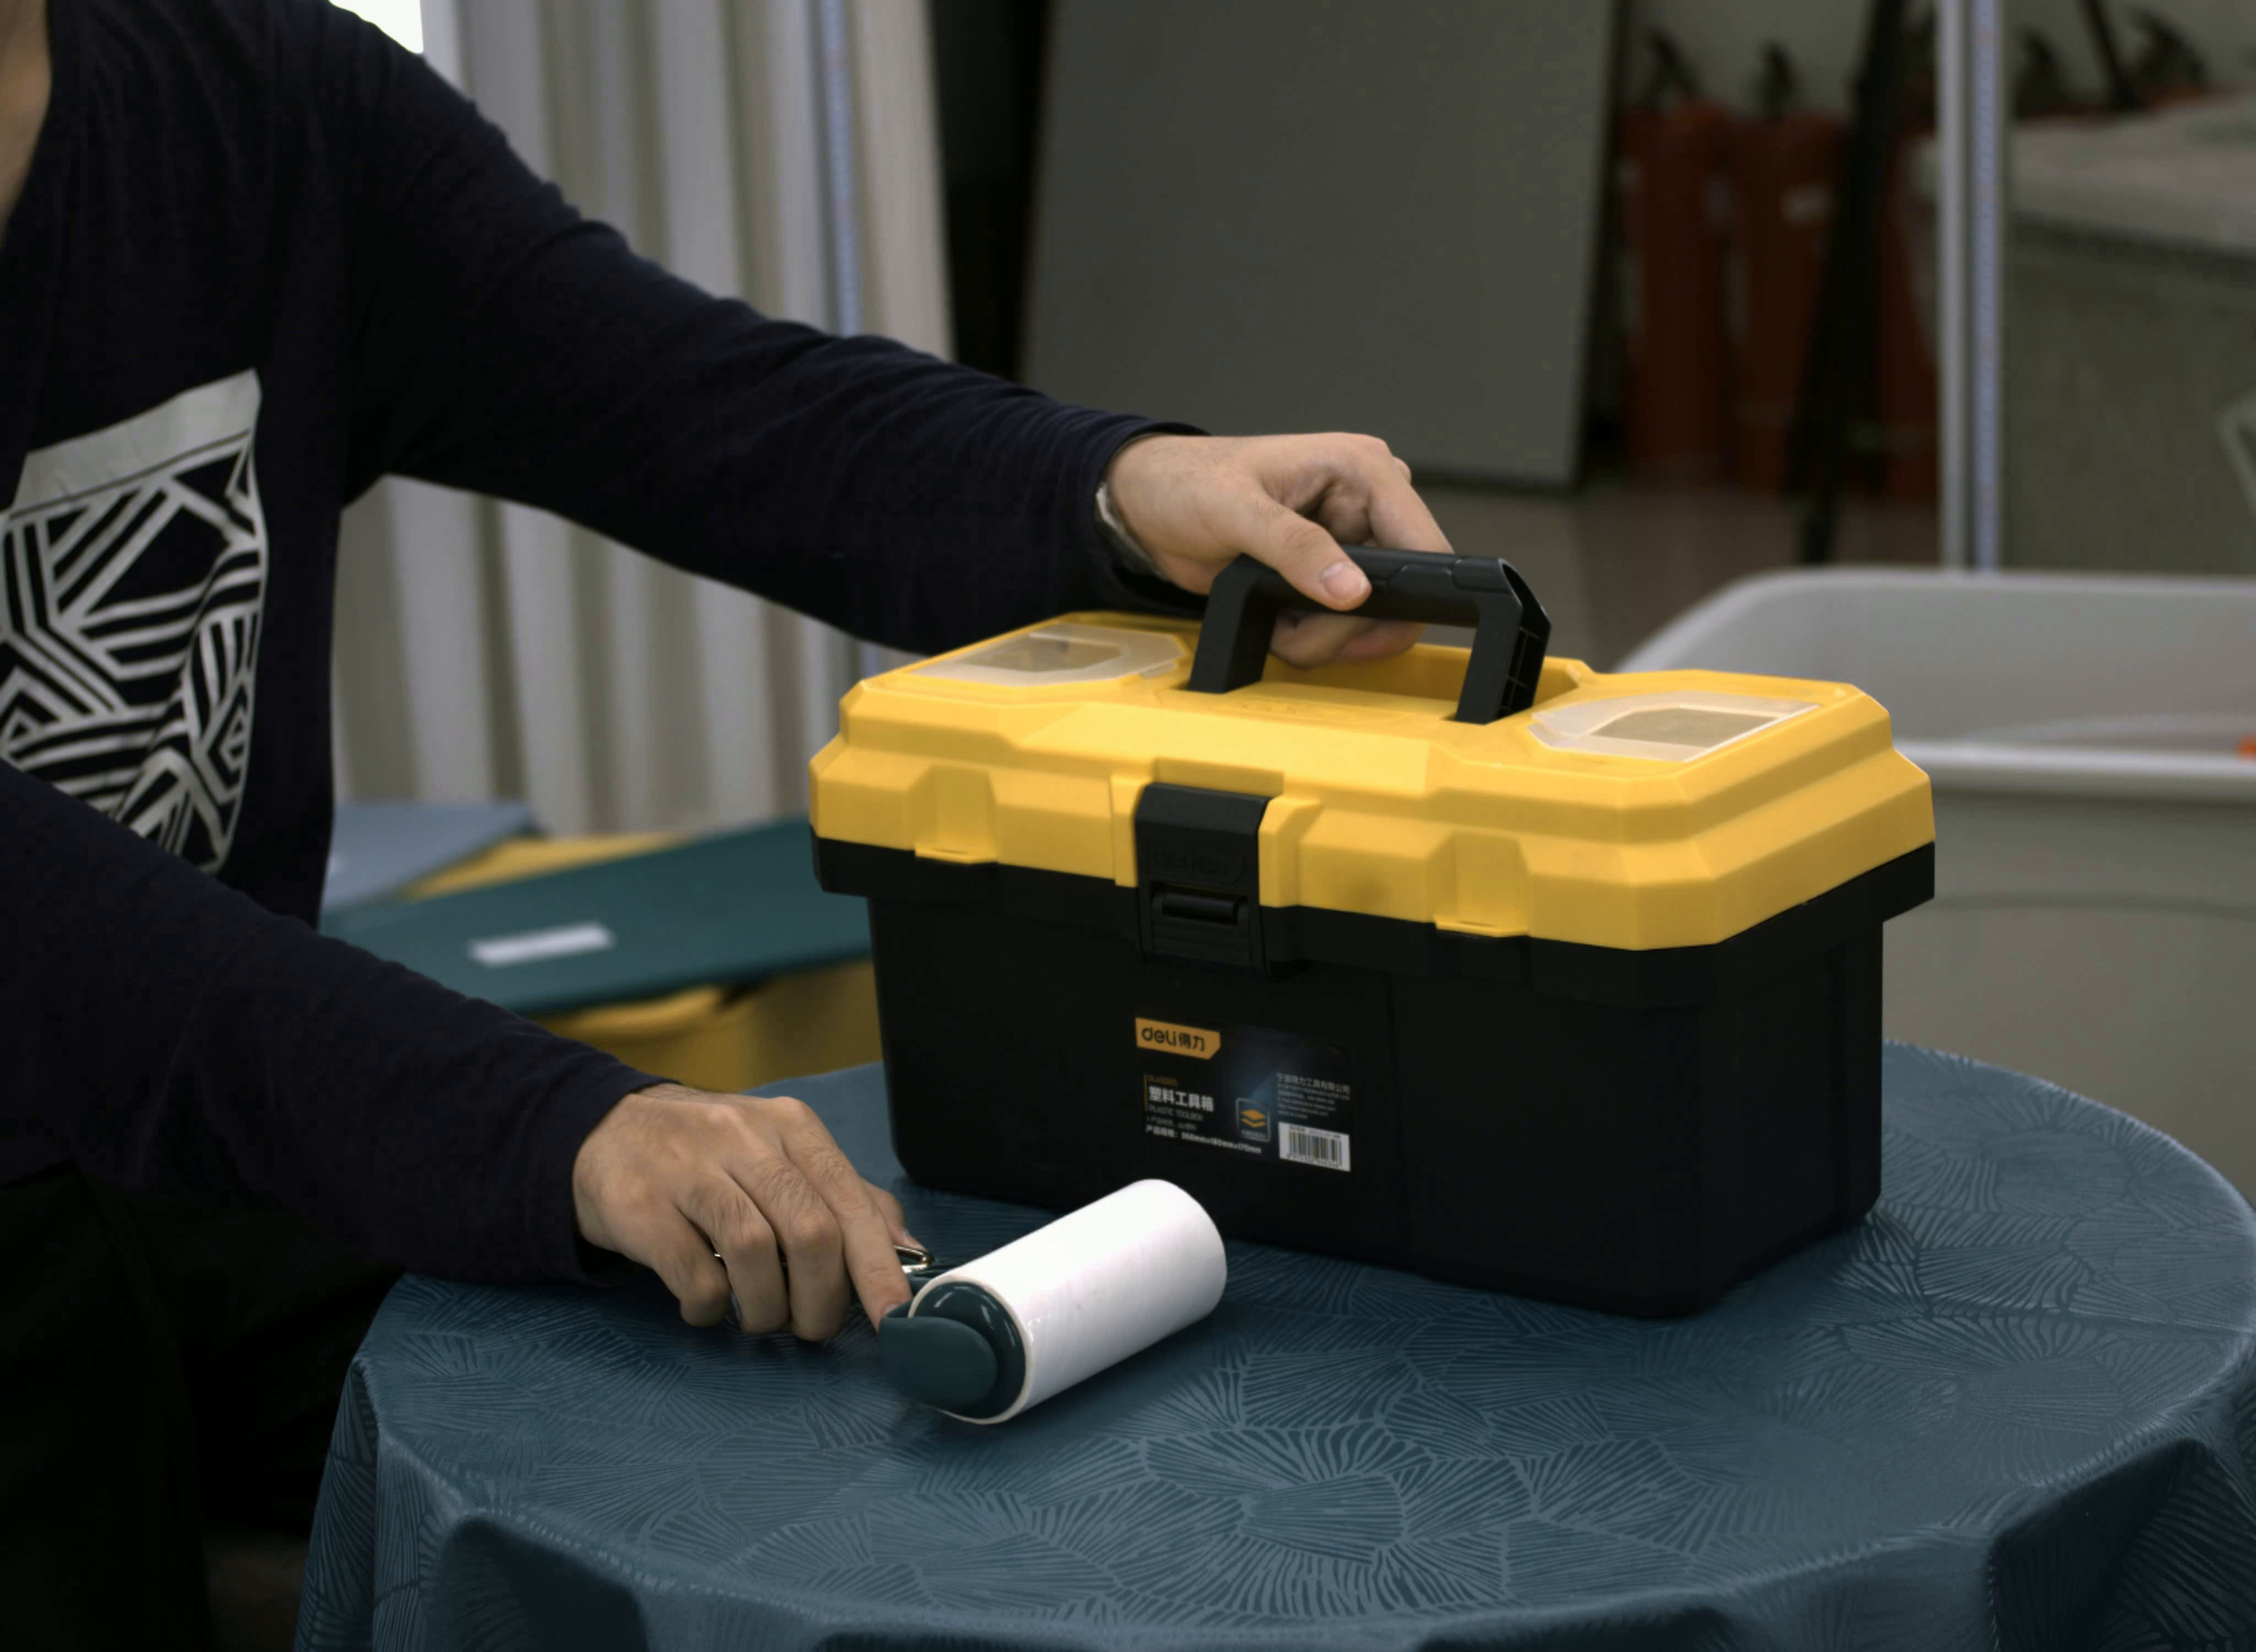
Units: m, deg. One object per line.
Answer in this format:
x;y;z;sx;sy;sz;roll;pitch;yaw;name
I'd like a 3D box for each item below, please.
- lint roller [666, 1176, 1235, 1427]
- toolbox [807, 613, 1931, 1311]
-0.071;0.135;1.638;0.181;0.049;0.132;6;17;37;lint roller
0.073;0.038;1.728;0.354;0.175;0.178;6;16;38;toolbox
